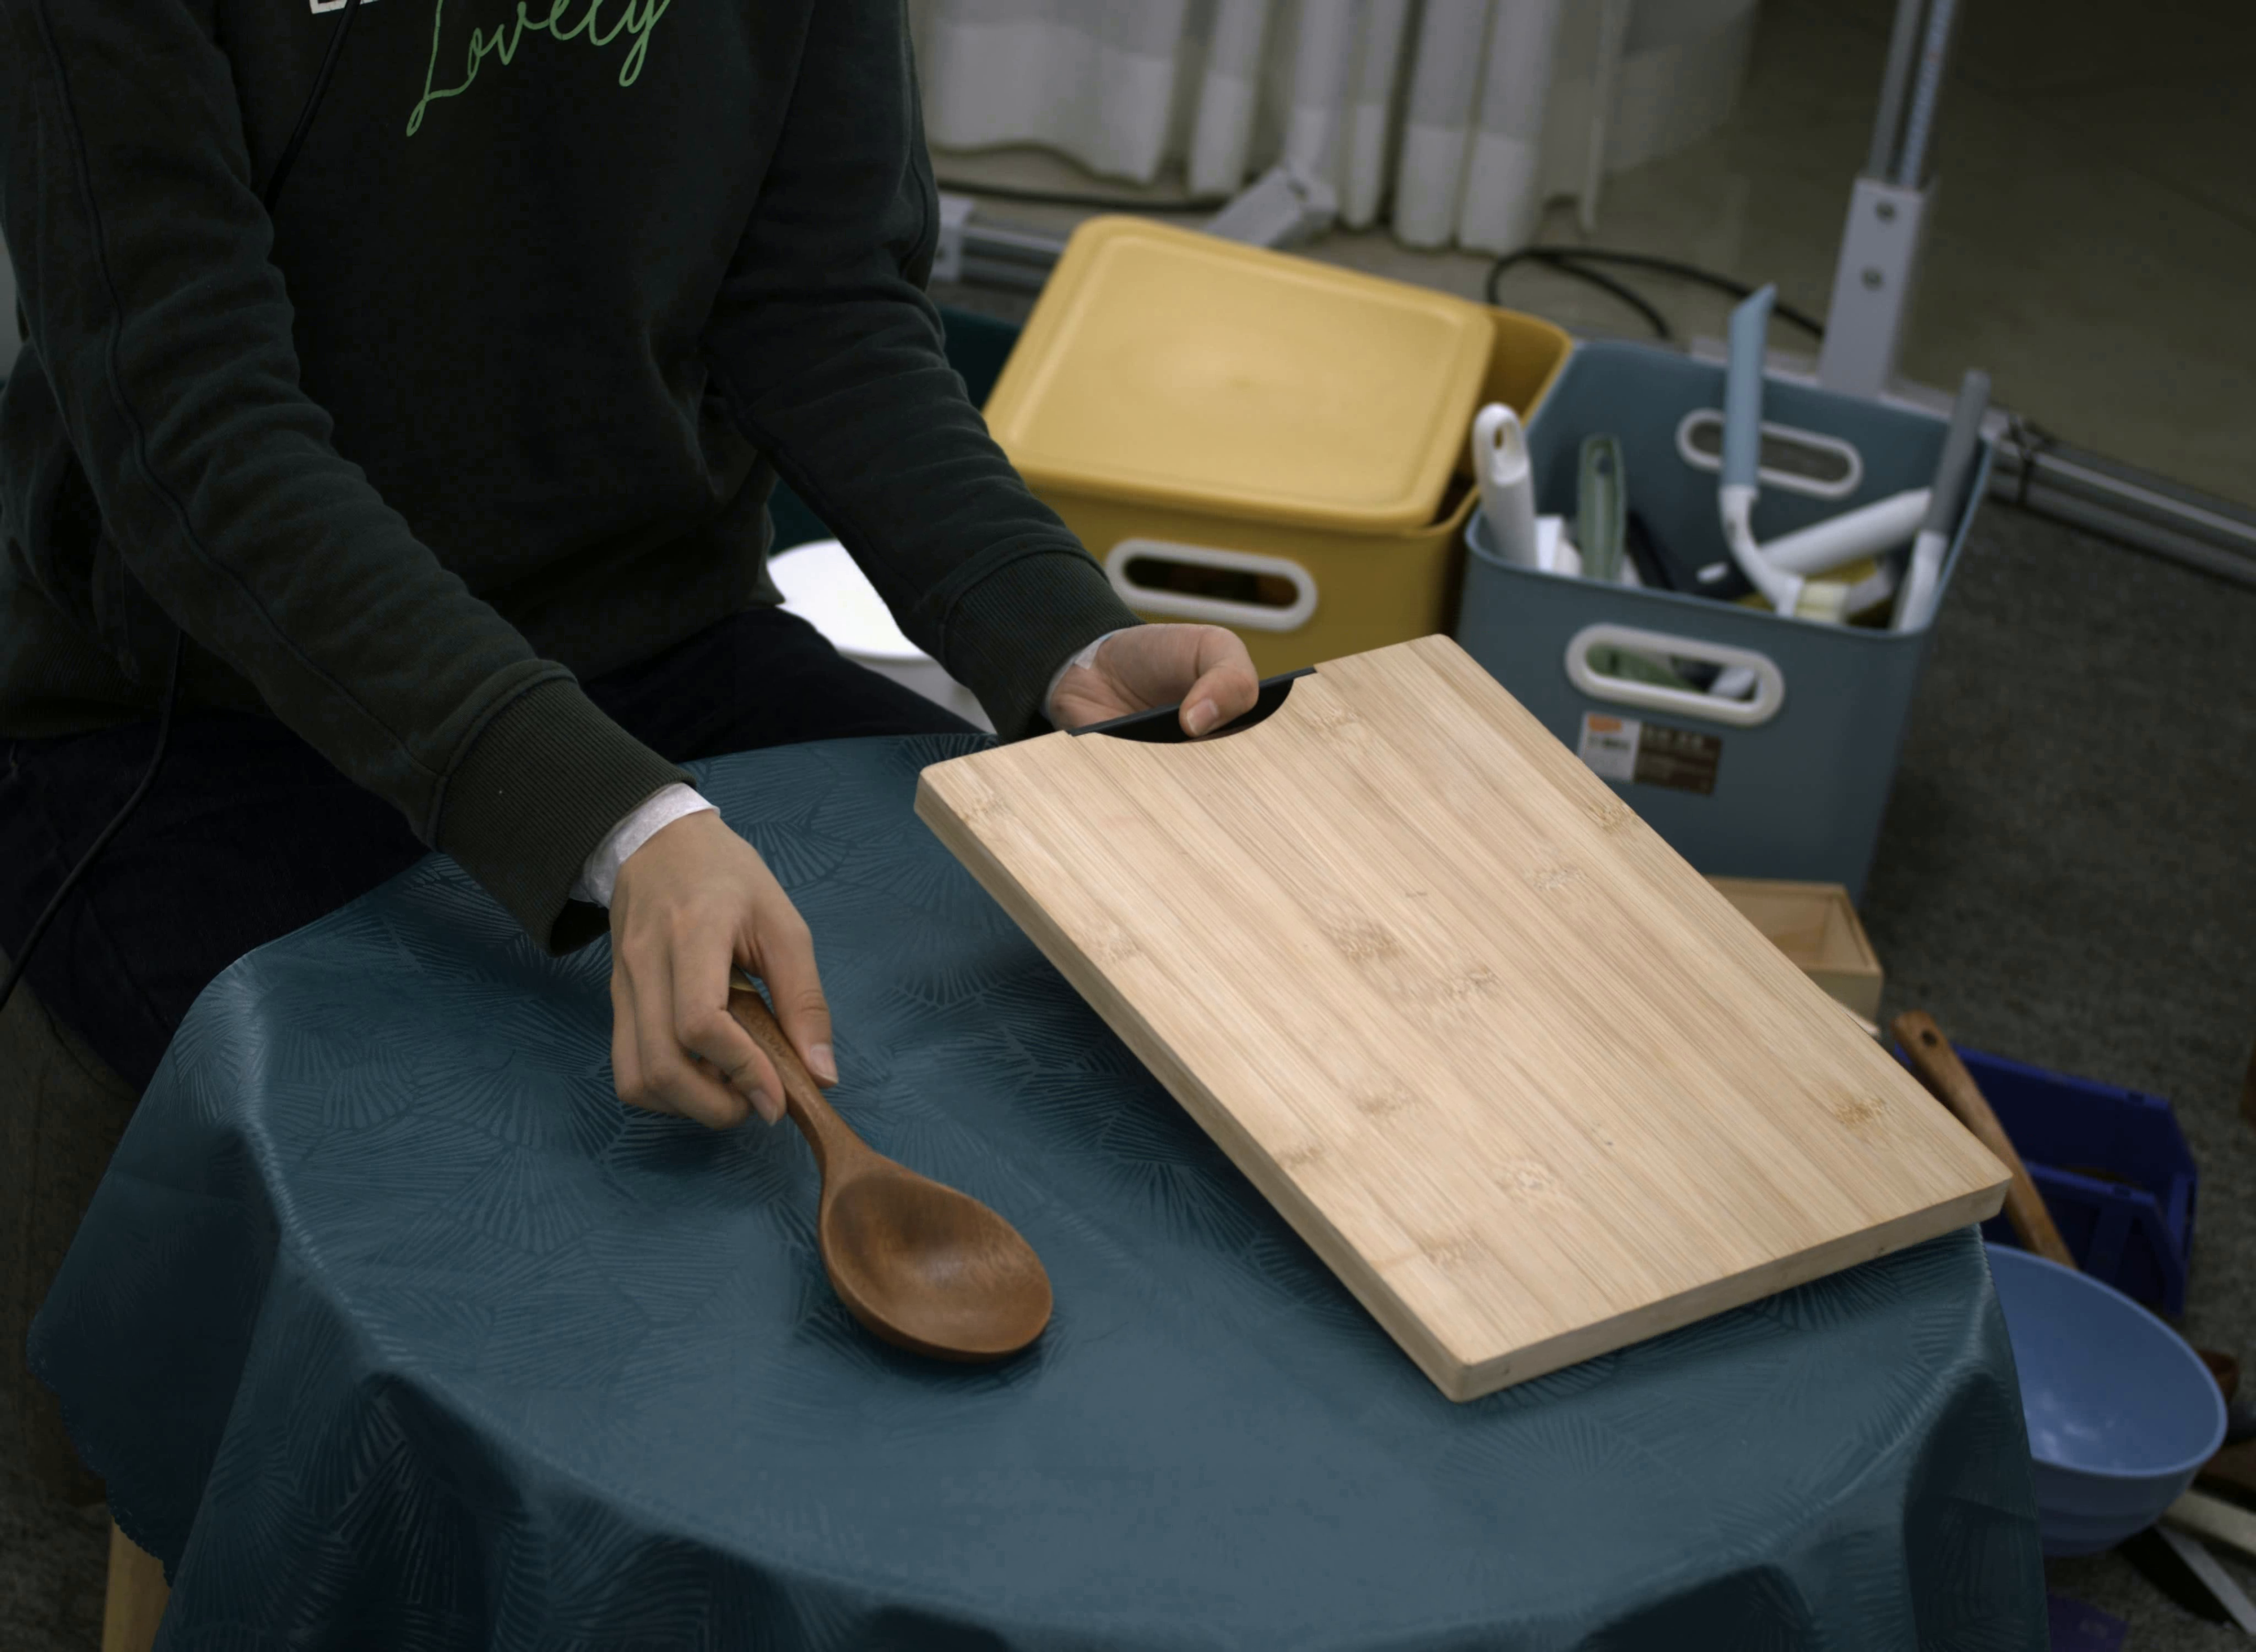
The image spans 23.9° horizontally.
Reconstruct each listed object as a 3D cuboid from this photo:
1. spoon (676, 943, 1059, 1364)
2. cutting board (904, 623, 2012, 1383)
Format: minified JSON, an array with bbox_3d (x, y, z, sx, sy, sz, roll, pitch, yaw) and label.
[{"bbox_3d":[-0.094,0.108,1.758,0.075,0.017,0.218,-9,41,-32],"label":"spoon"},{"bbox_3d":[0.110,0.053,1.870,0.249,0.023,0.352,-15,43,-32],"label":"cutting board"}]
